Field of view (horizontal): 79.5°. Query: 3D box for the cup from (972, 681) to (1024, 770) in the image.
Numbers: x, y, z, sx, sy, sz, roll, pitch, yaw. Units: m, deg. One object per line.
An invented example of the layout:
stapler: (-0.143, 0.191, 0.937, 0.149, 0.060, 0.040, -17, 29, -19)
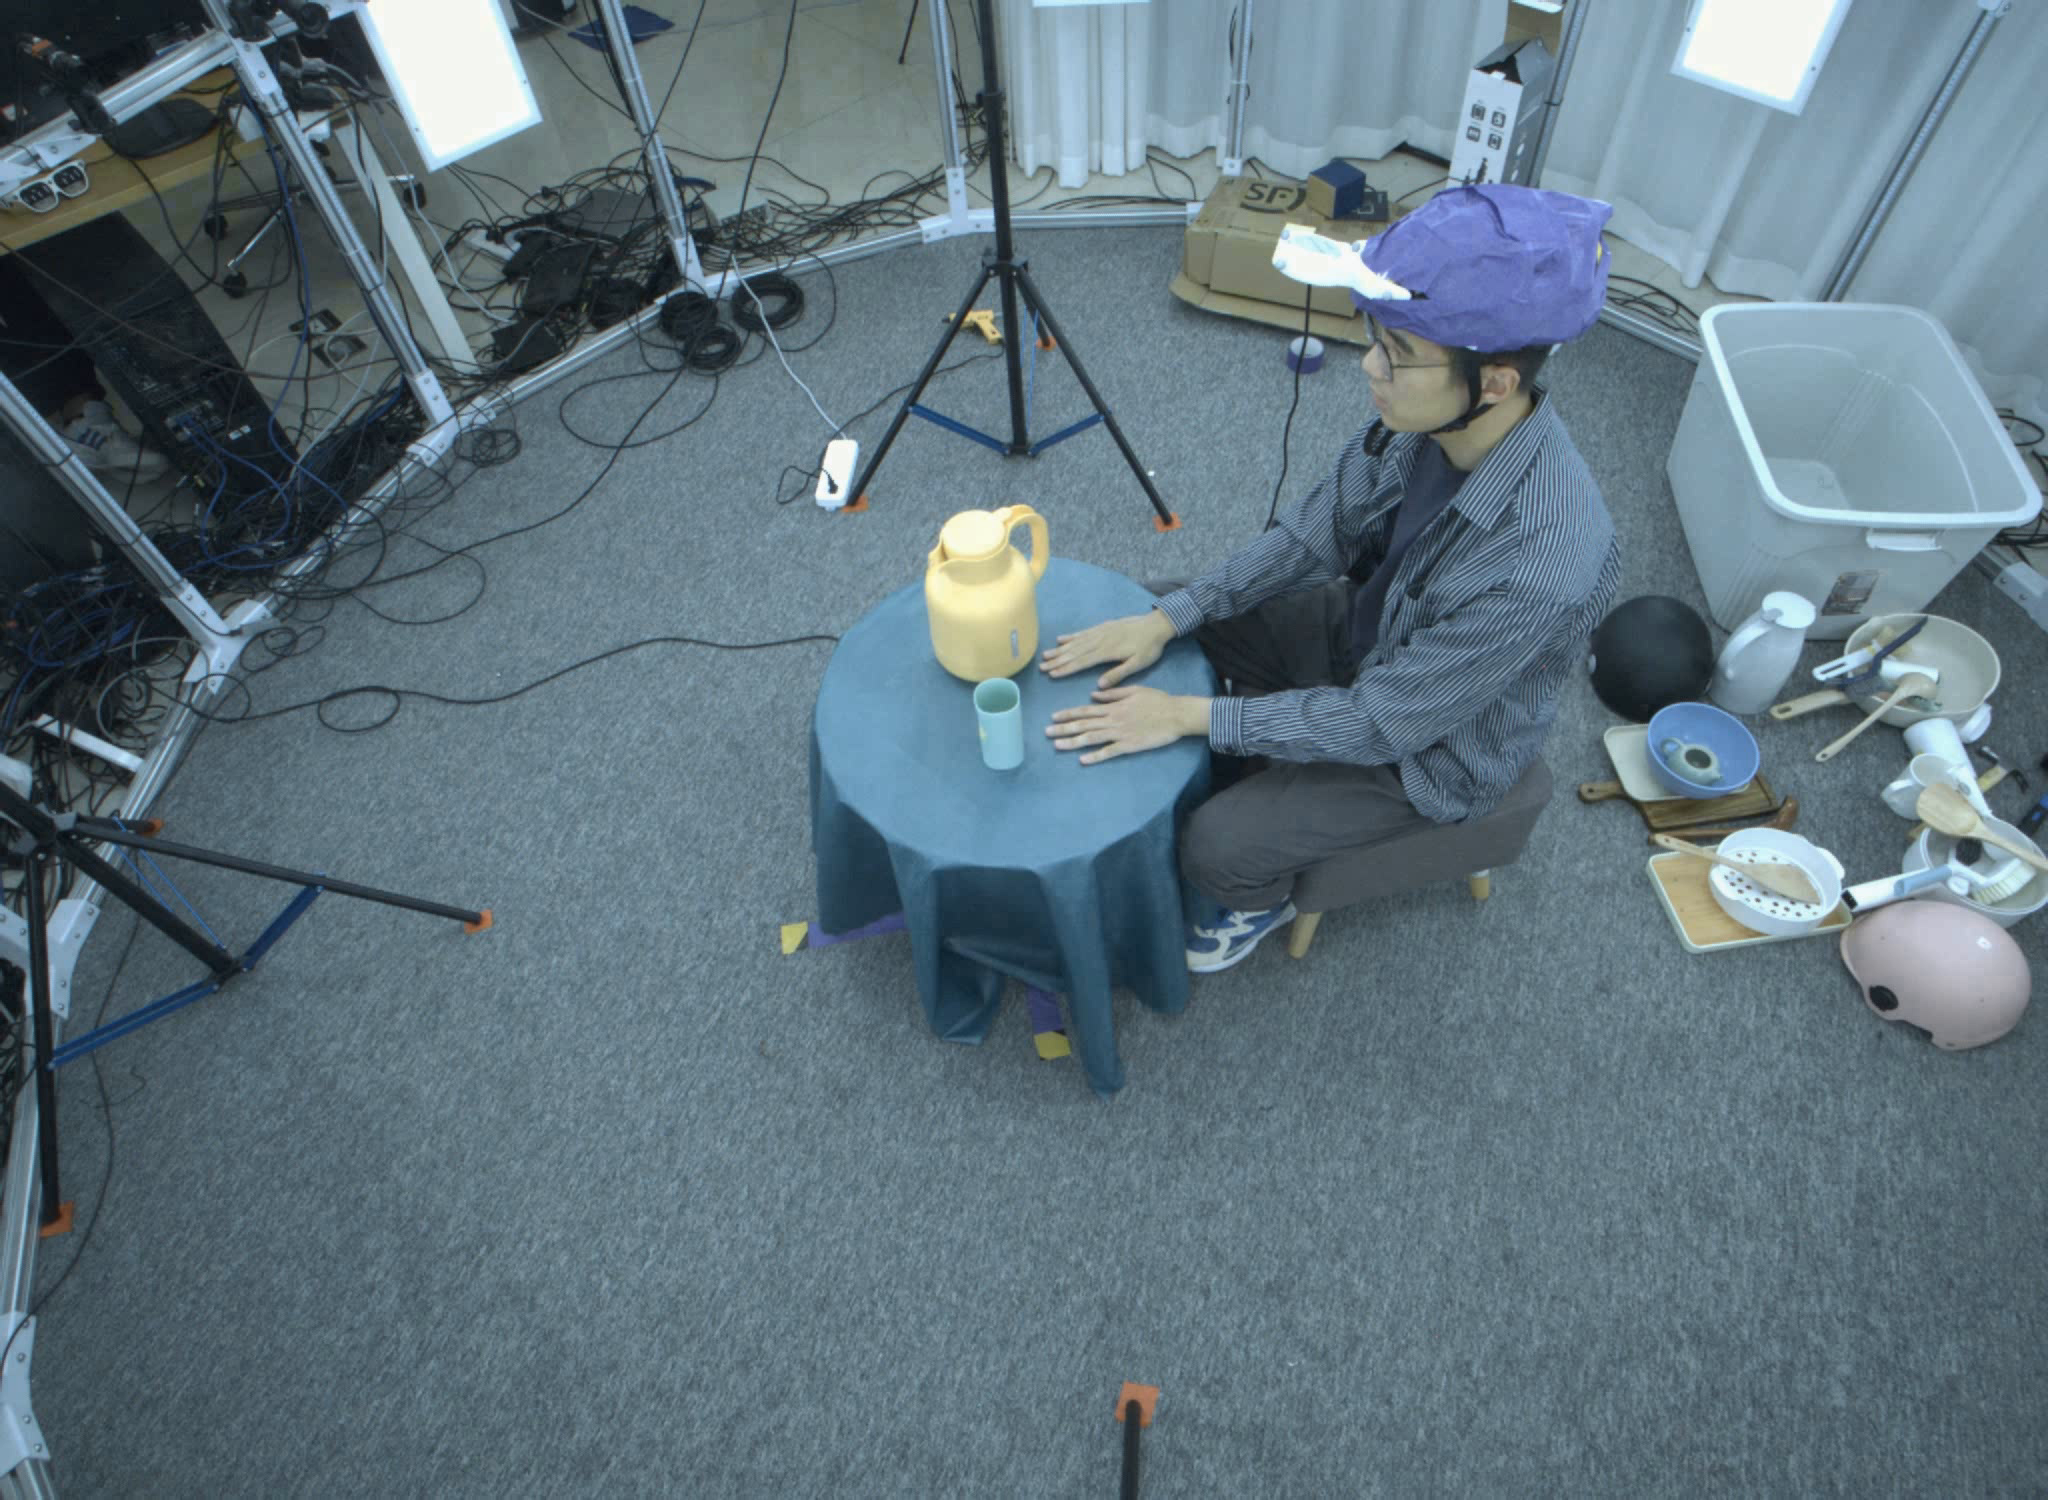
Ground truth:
cup: (-0.034, -0.034, 1.739, 0.066, 0.134, 0.066, -2, 55, 4)

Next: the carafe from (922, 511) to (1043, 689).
carafe: (-0.052, -0.228, 1.795, 0.204, 0.263, 0.160, -37, 62, -21)
